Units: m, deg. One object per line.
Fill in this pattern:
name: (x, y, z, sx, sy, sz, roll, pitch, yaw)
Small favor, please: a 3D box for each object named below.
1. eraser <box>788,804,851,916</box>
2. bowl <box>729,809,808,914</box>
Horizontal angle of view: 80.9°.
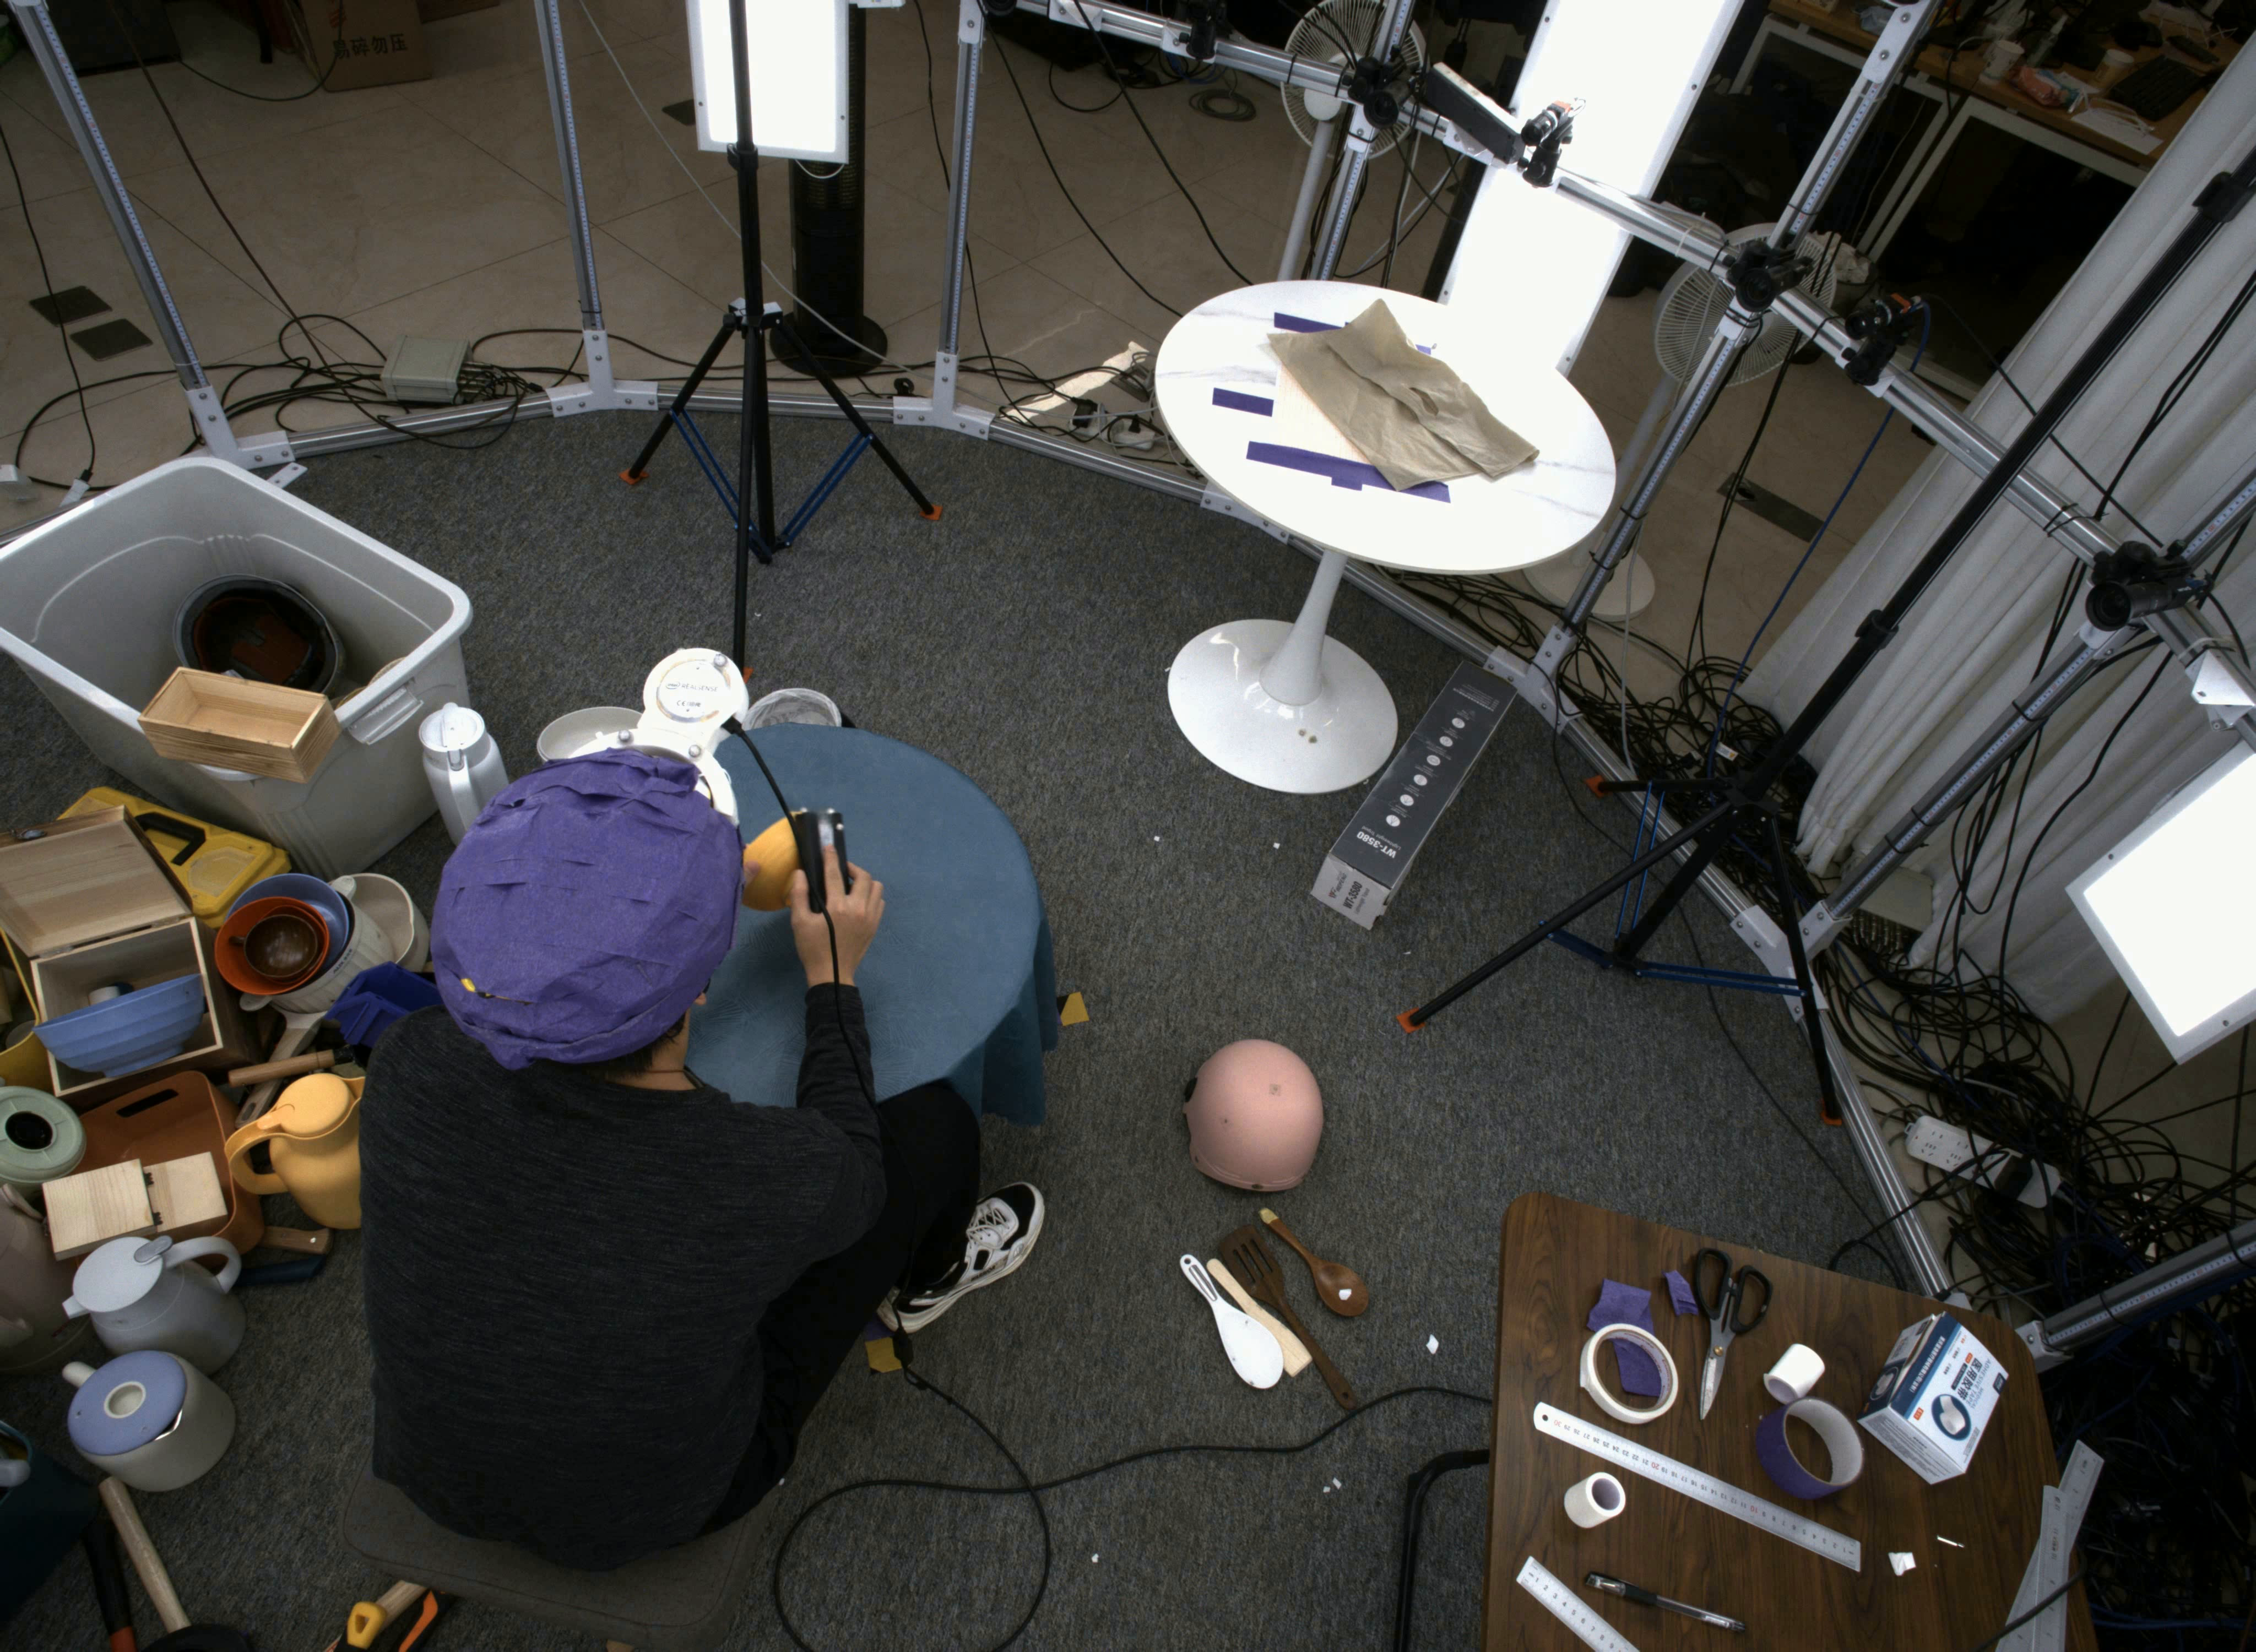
eraser: (-0.358, 0.038, 1.503, 0.054, 0.030, 0.126, -6, 83, -40)
bowl: (-0.401, 0.054, 1.548, 0.059, 0.148, 0.145, 40, 54, 15)
